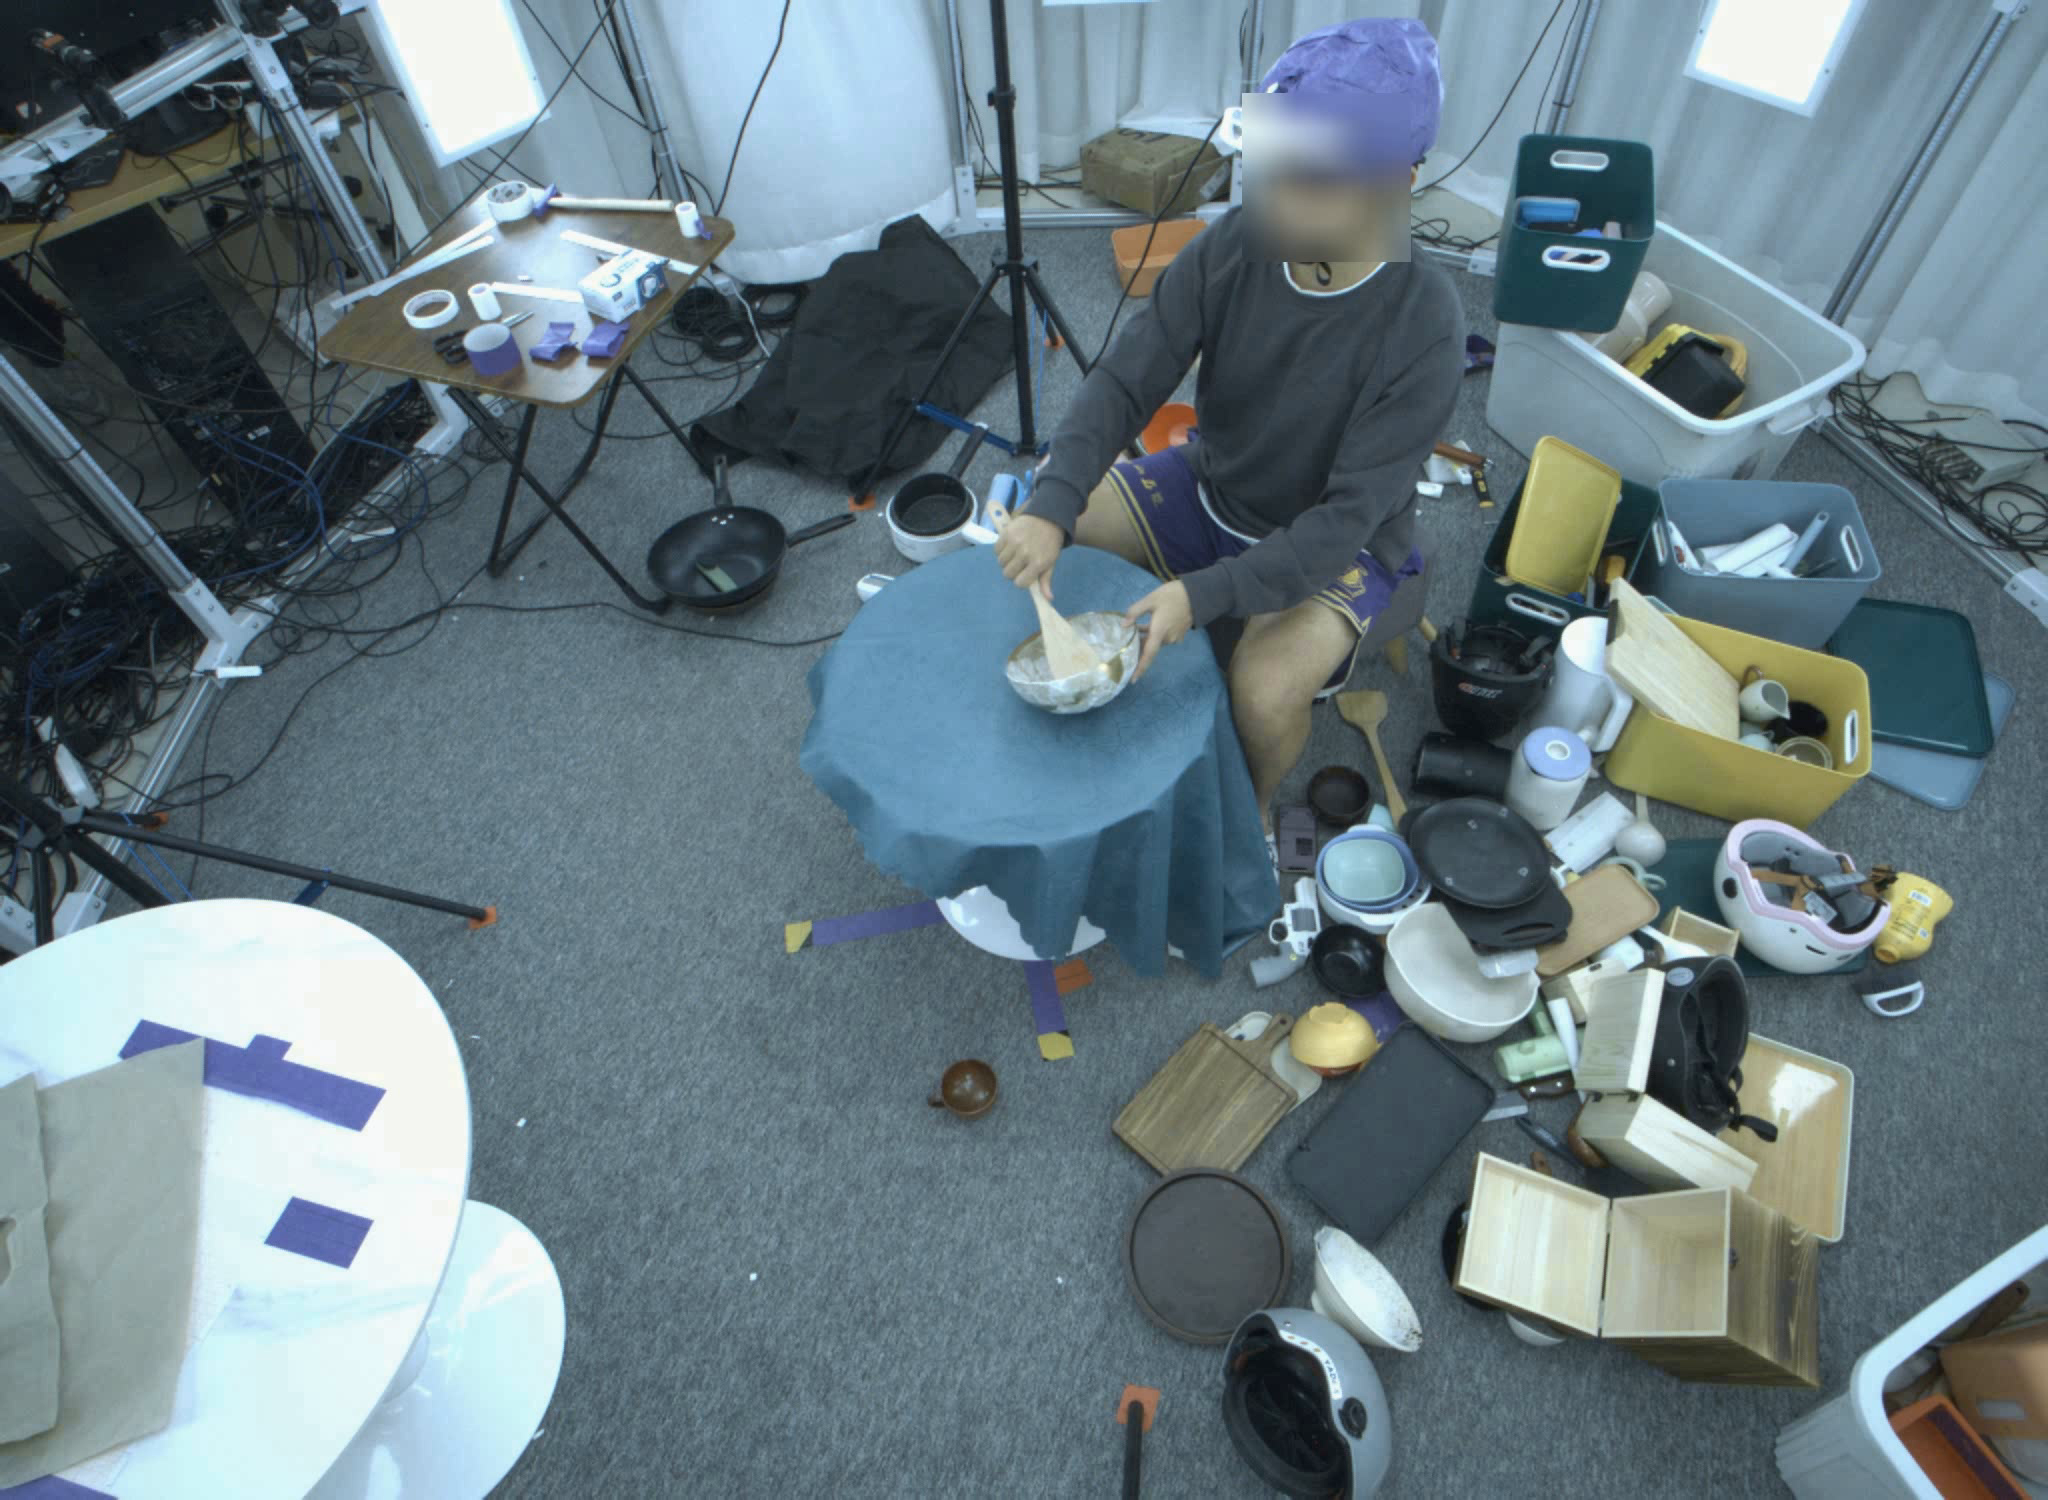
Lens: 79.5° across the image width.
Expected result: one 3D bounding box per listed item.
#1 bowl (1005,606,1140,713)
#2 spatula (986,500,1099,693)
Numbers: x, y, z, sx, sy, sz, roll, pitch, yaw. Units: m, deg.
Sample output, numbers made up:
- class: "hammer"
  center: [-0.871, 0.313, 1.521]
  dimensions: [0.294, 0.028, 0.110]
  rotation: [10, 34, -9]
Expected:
- class: "bowl"
  center: [0.084, -0.118, 1.798]
  dimensions: [0.213, 0.096, 0.213]
  rotation: [-16, 30, 11]
- class: "spatula"
  center: [0.024, -0.226, 1.809]
  dimensions: [0.080, 0.016, 0.327]
  rotation: [-26, 89, -14]
